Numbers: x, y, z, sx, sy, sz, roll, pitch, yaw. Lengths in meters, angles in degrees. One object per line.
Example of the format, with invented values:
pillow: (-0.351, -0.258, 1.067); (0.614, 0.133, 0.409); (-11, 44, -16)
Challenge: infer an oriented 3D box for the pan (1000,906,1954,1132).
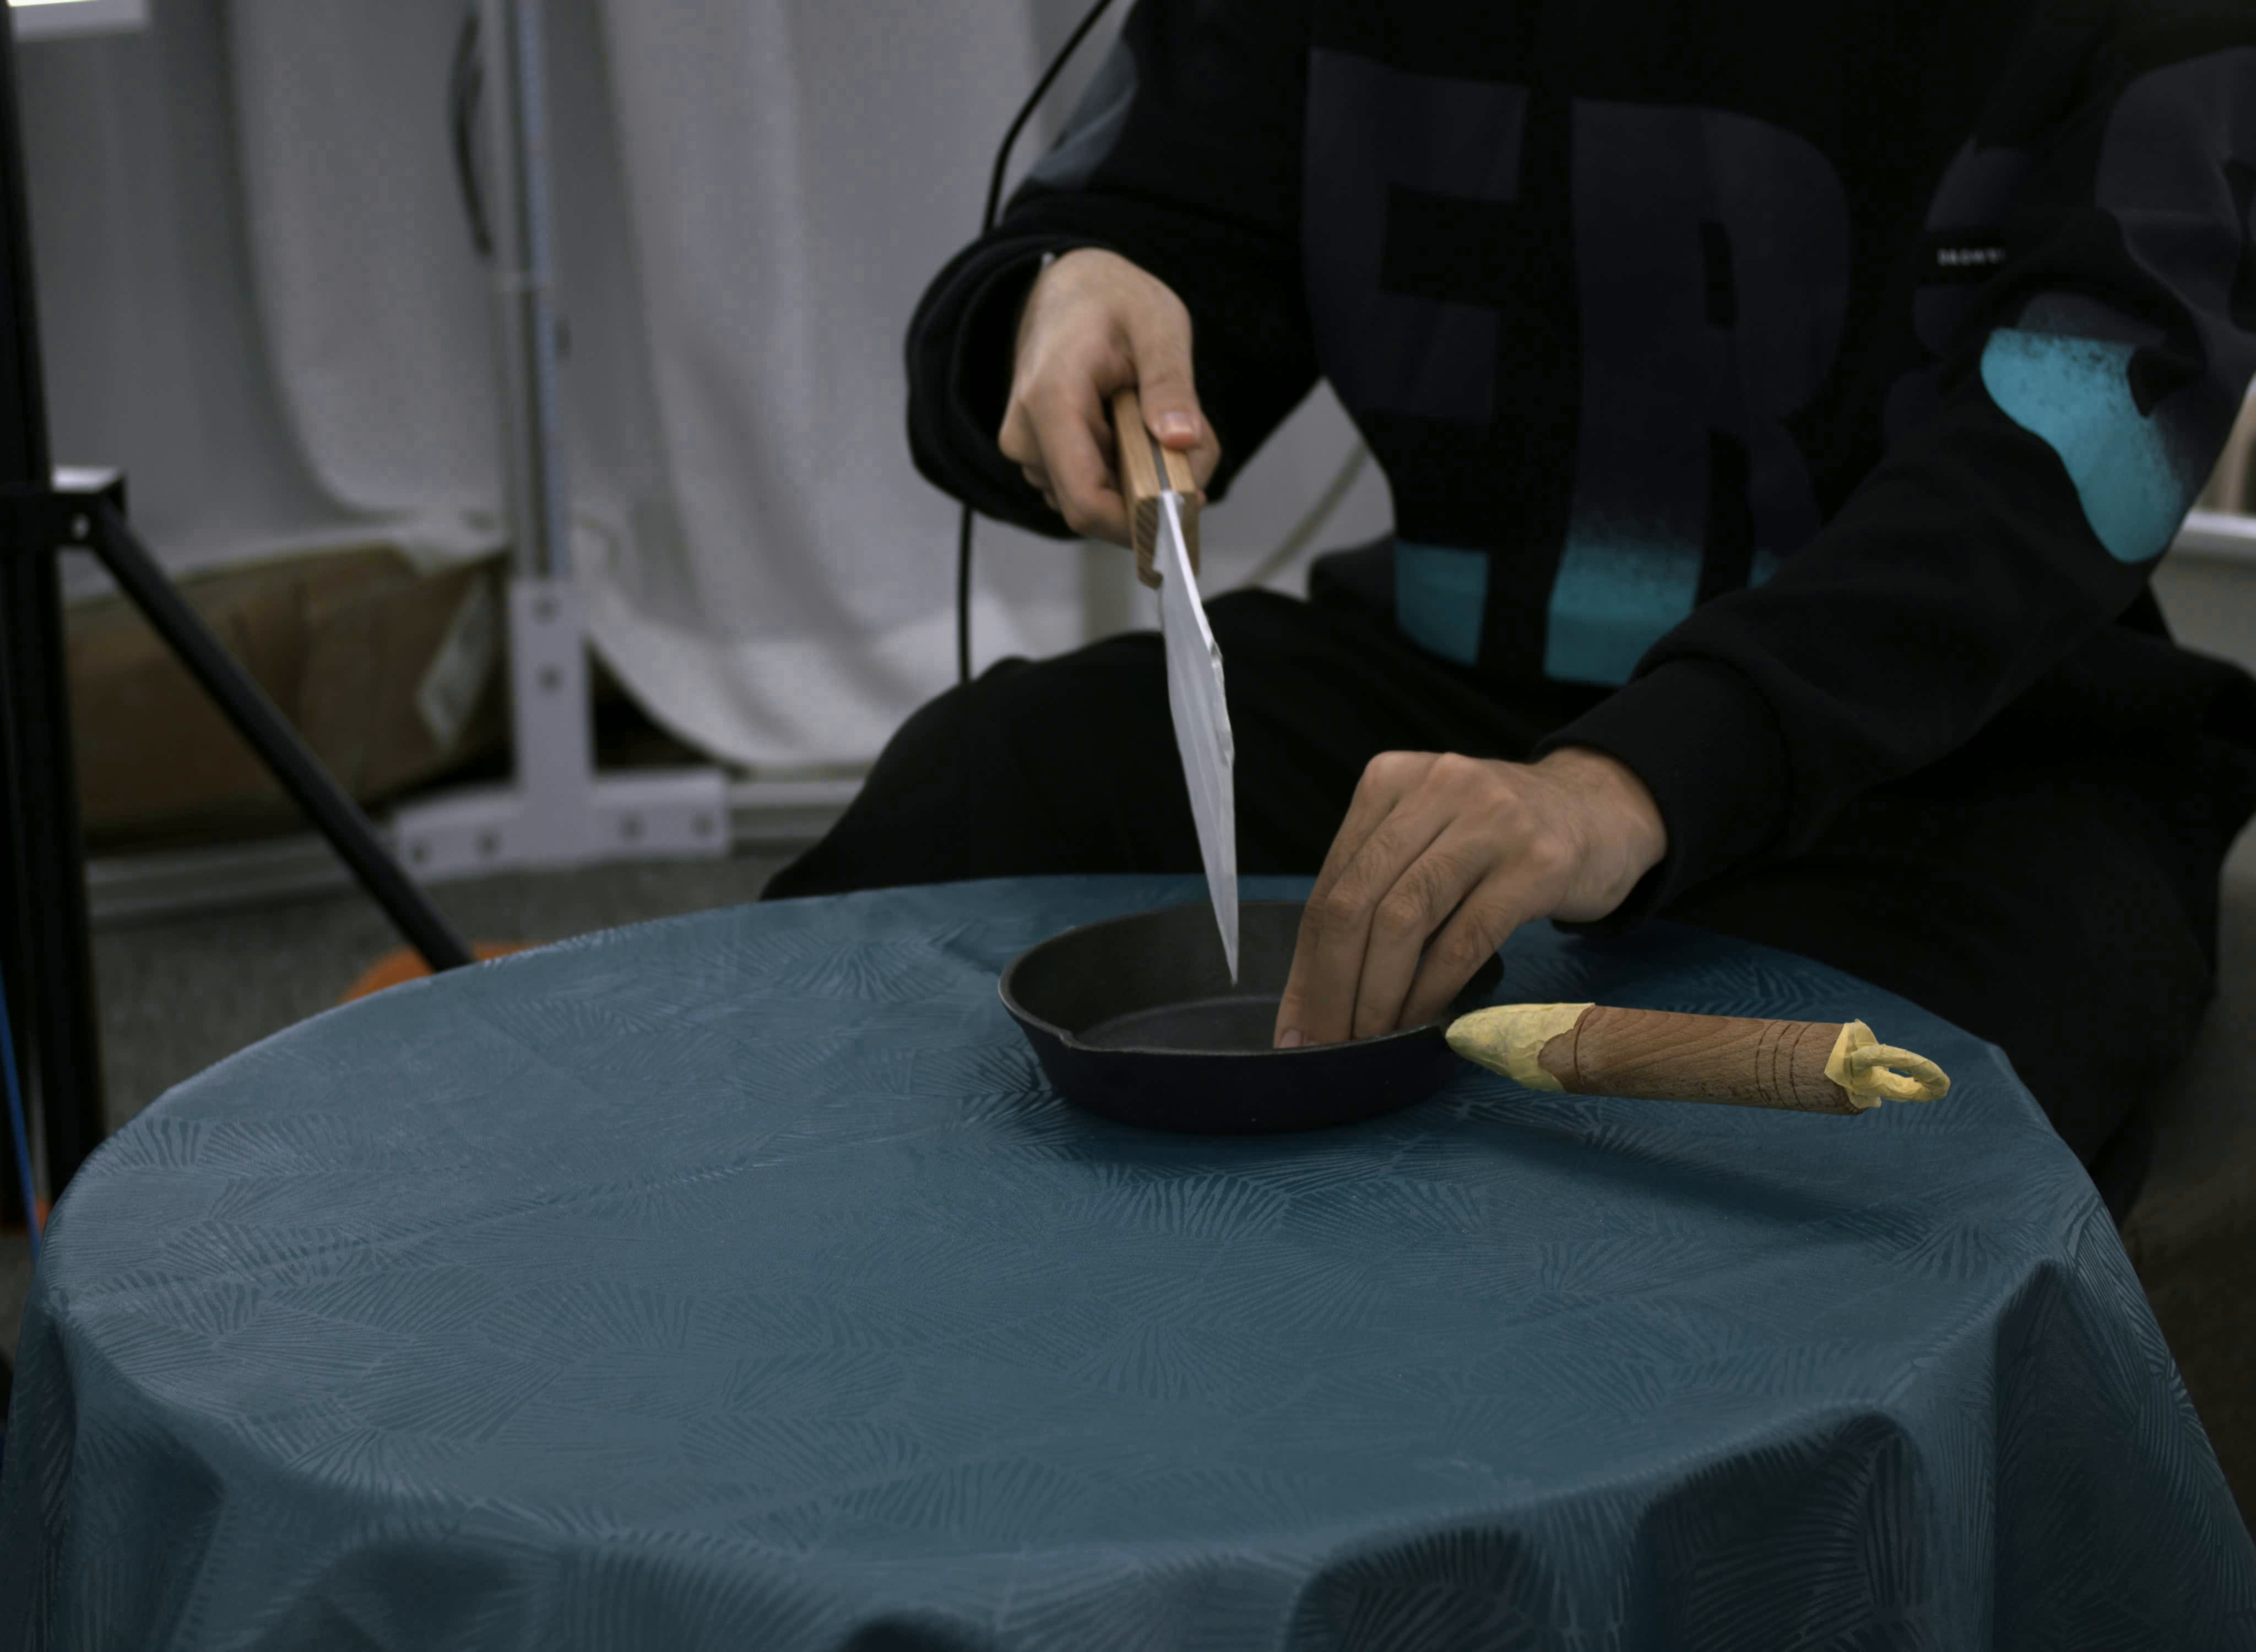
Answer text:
pan: (0.104, 0.066, 1.598); (0.331, 0.049, 0.165); (10, 19, 40)

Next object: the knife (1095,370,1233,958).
knife: (0.015, -0.070, 1.730); (0.021, 0.113, 0.319); (-4, 30, -4)
